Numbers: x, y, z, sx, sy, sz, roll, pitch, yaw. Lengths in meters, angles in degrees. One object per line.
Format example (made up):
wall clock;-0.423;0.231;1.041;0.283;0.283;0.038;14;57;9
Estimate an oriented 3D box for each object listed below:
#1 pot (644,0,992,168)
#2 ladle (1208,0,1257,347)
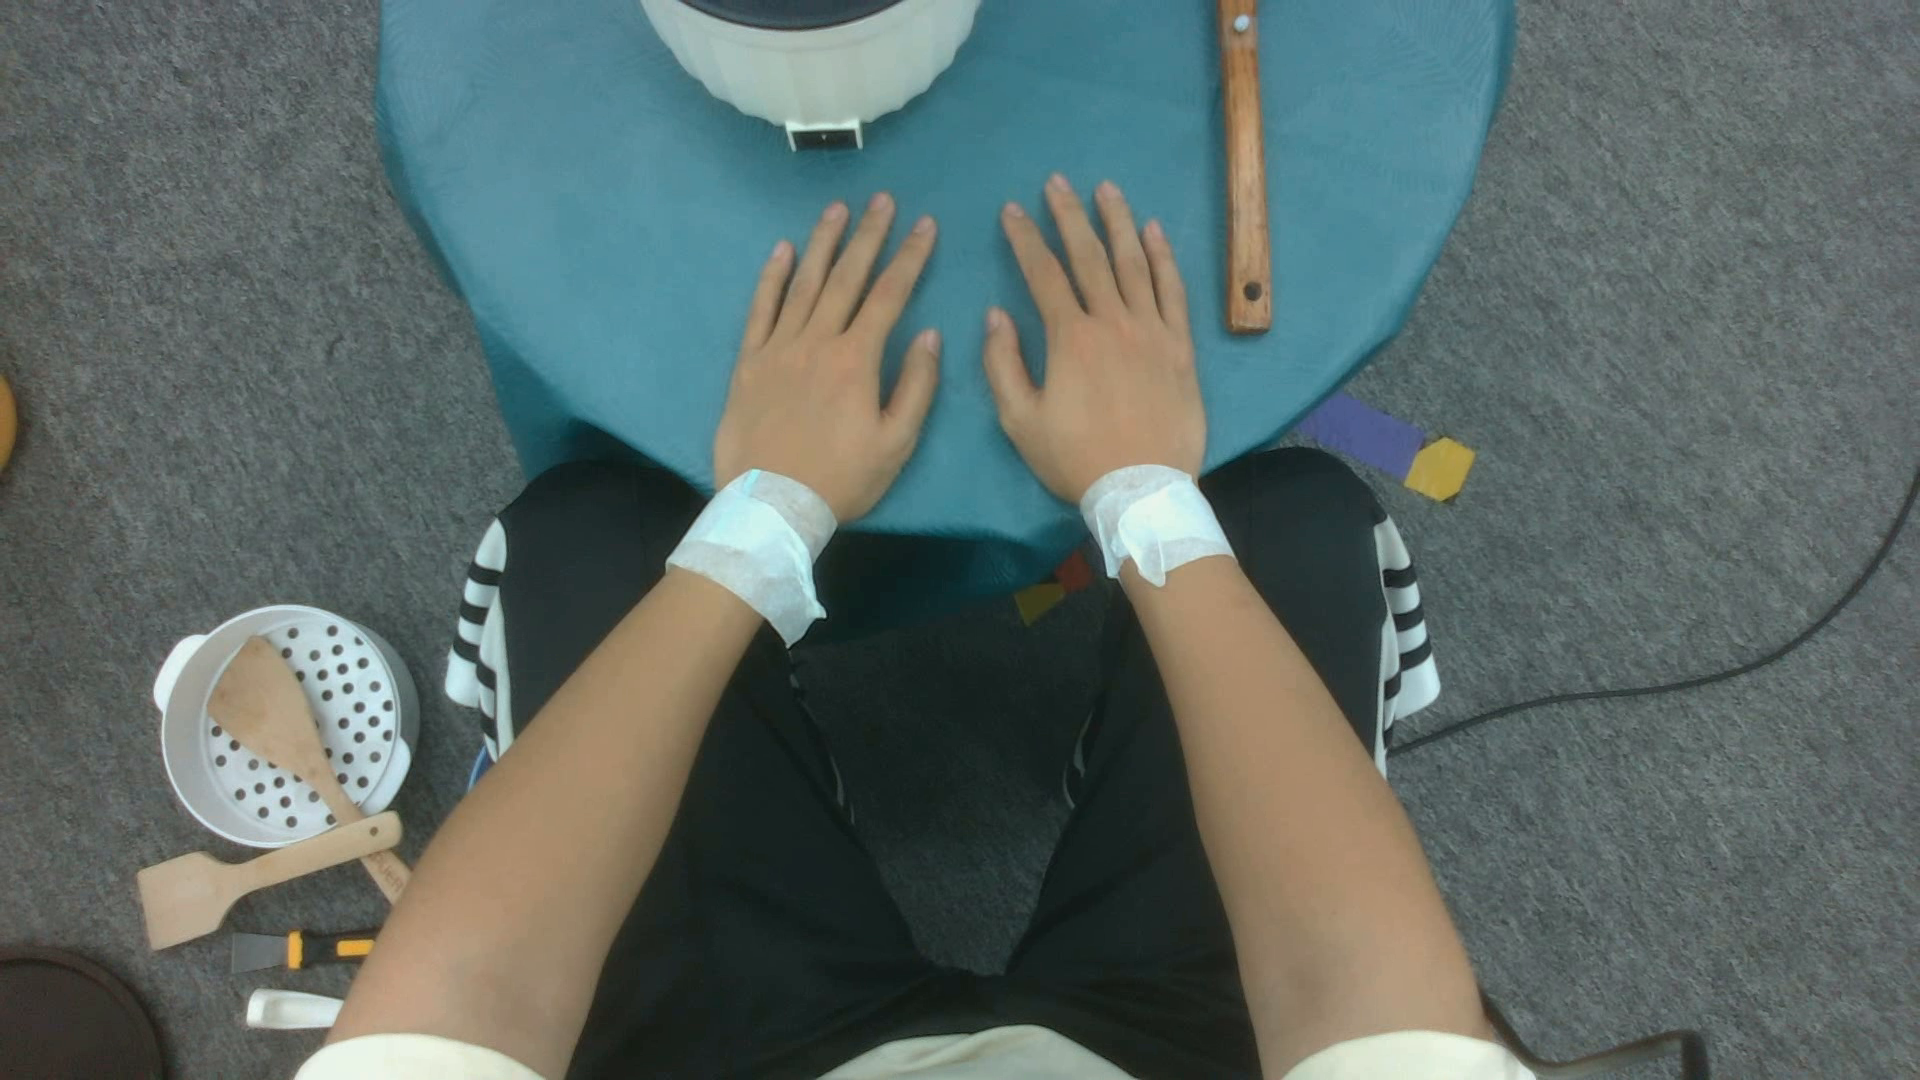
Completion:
pot;-0.072;-0.298;0.684;0.240;0.142;0.190;-3;85;-2
ladle;0.150;-0.241;0.707;0.082;0.076;0.274;2;81;-3
